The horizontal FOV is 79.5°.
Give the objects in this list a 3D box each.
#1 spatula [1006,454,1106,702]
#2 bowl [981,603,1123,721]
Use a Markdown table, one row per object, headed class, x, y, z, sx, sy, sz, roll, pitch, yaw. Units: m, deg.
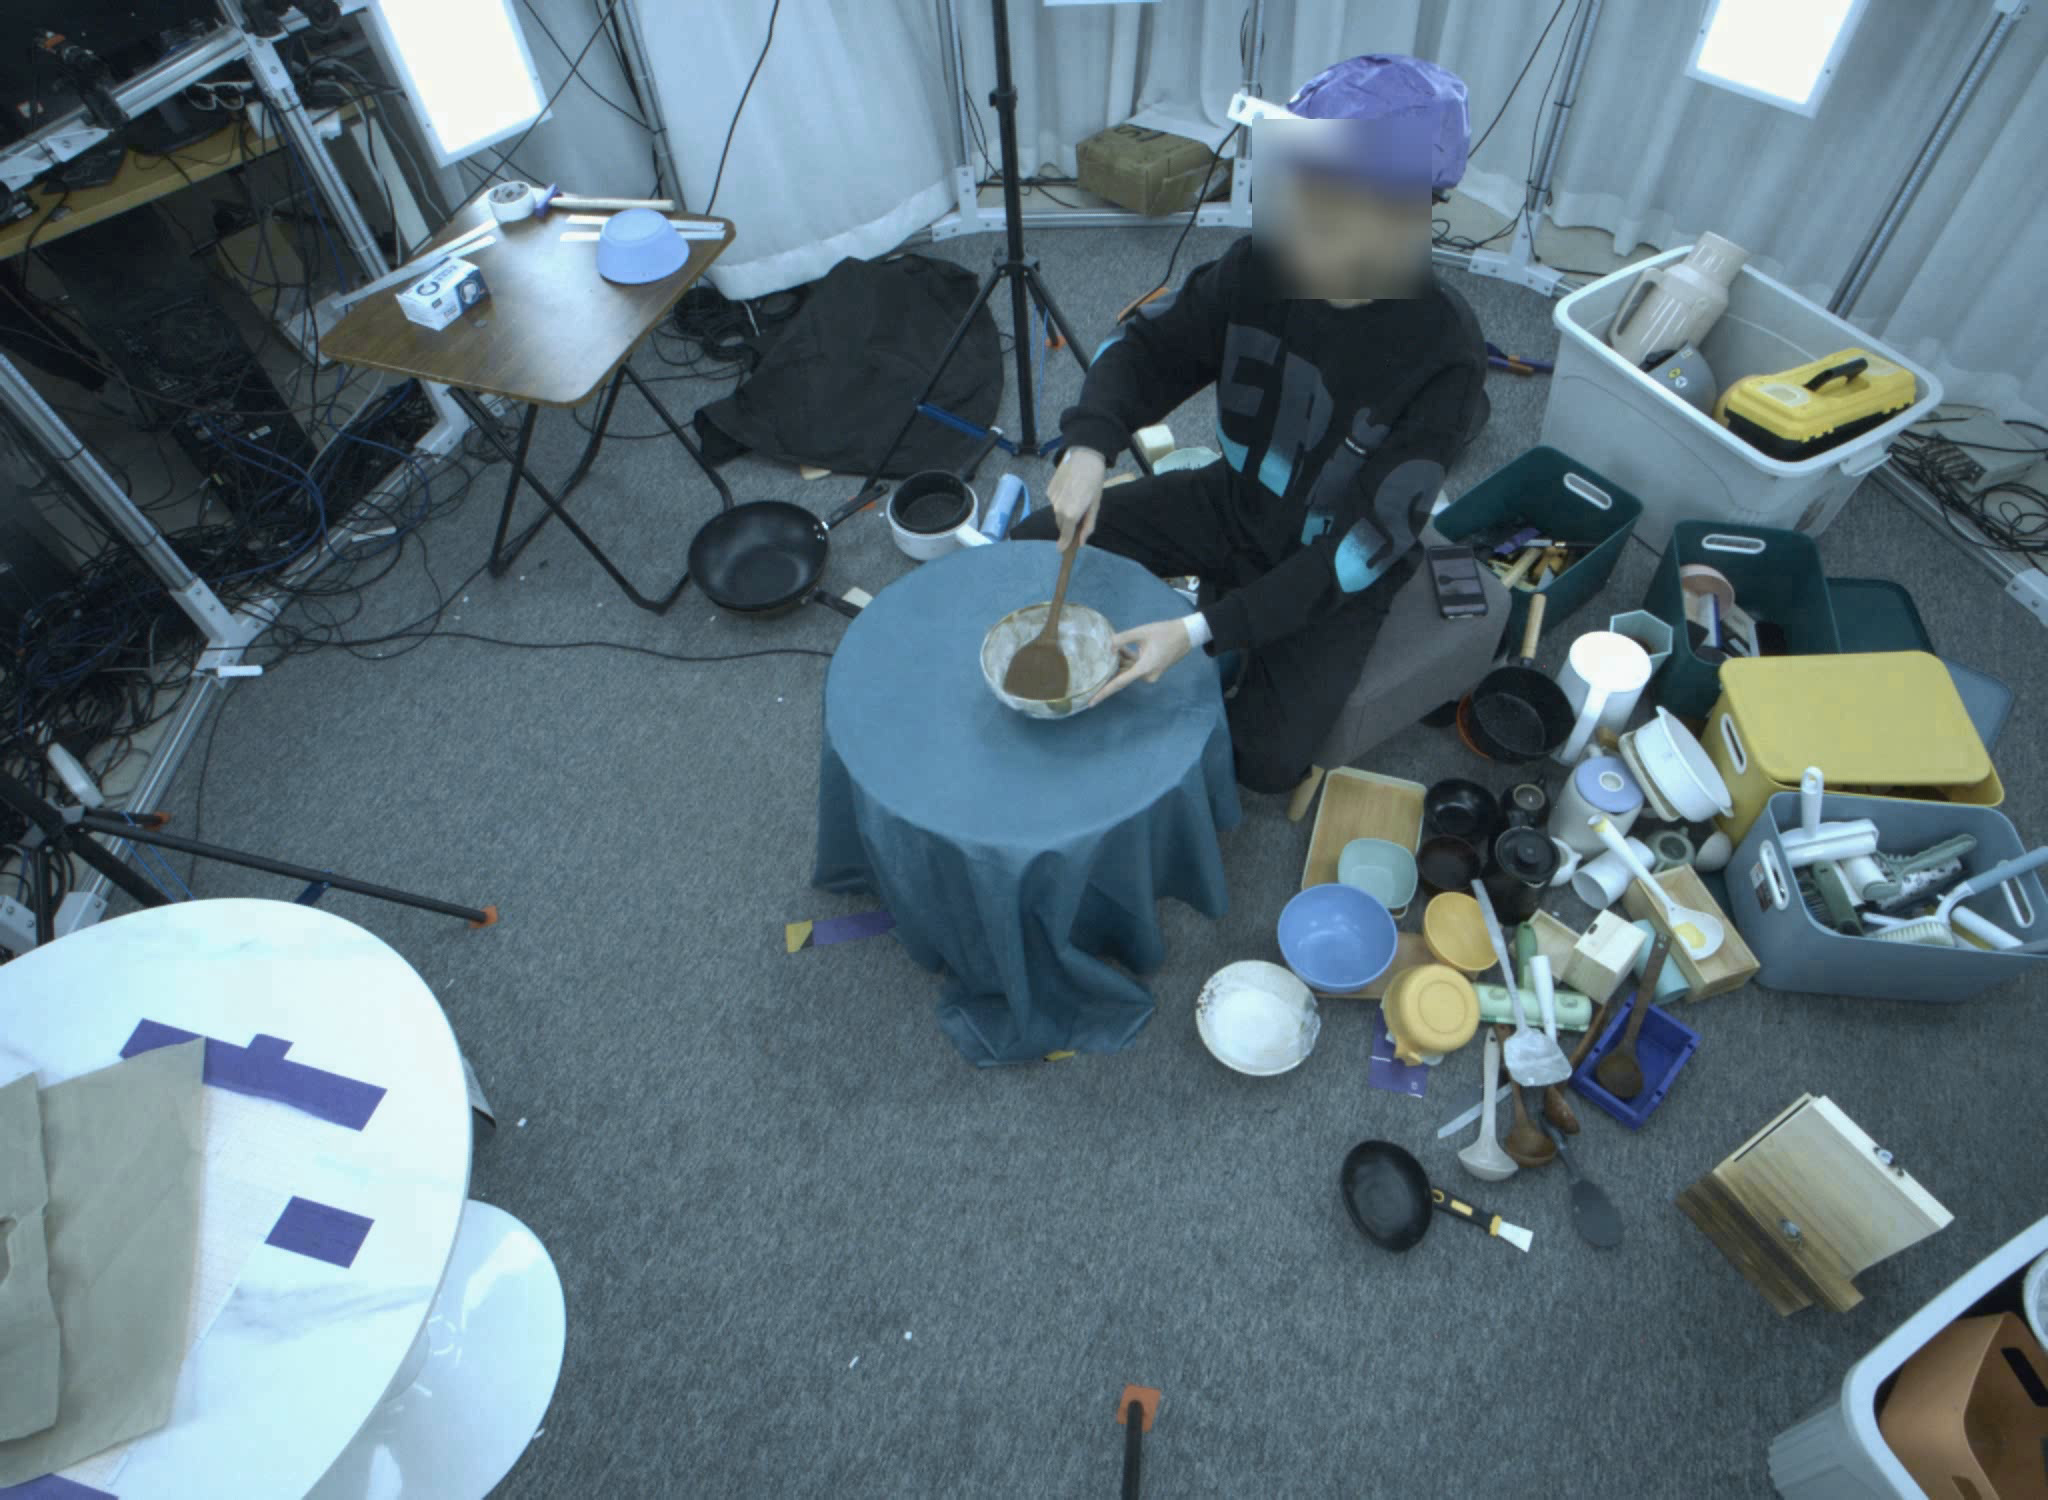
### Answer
| class | x | y | z | sx | sy | sz | roll | pitch | yaw |
| --- | --- | --- | --- | --- | --- | --- | --- | --- | --- |
| spatula | 0.061 | -0.247 | 1.801 | 0.096 | 0.016 | 0.386 | 15 | 99 | 2 |
| bowl | 0.046 | -0.114 | 1.817 | 0.214 | 0.096 | 0.212 | -2 | 50 | 4 |
